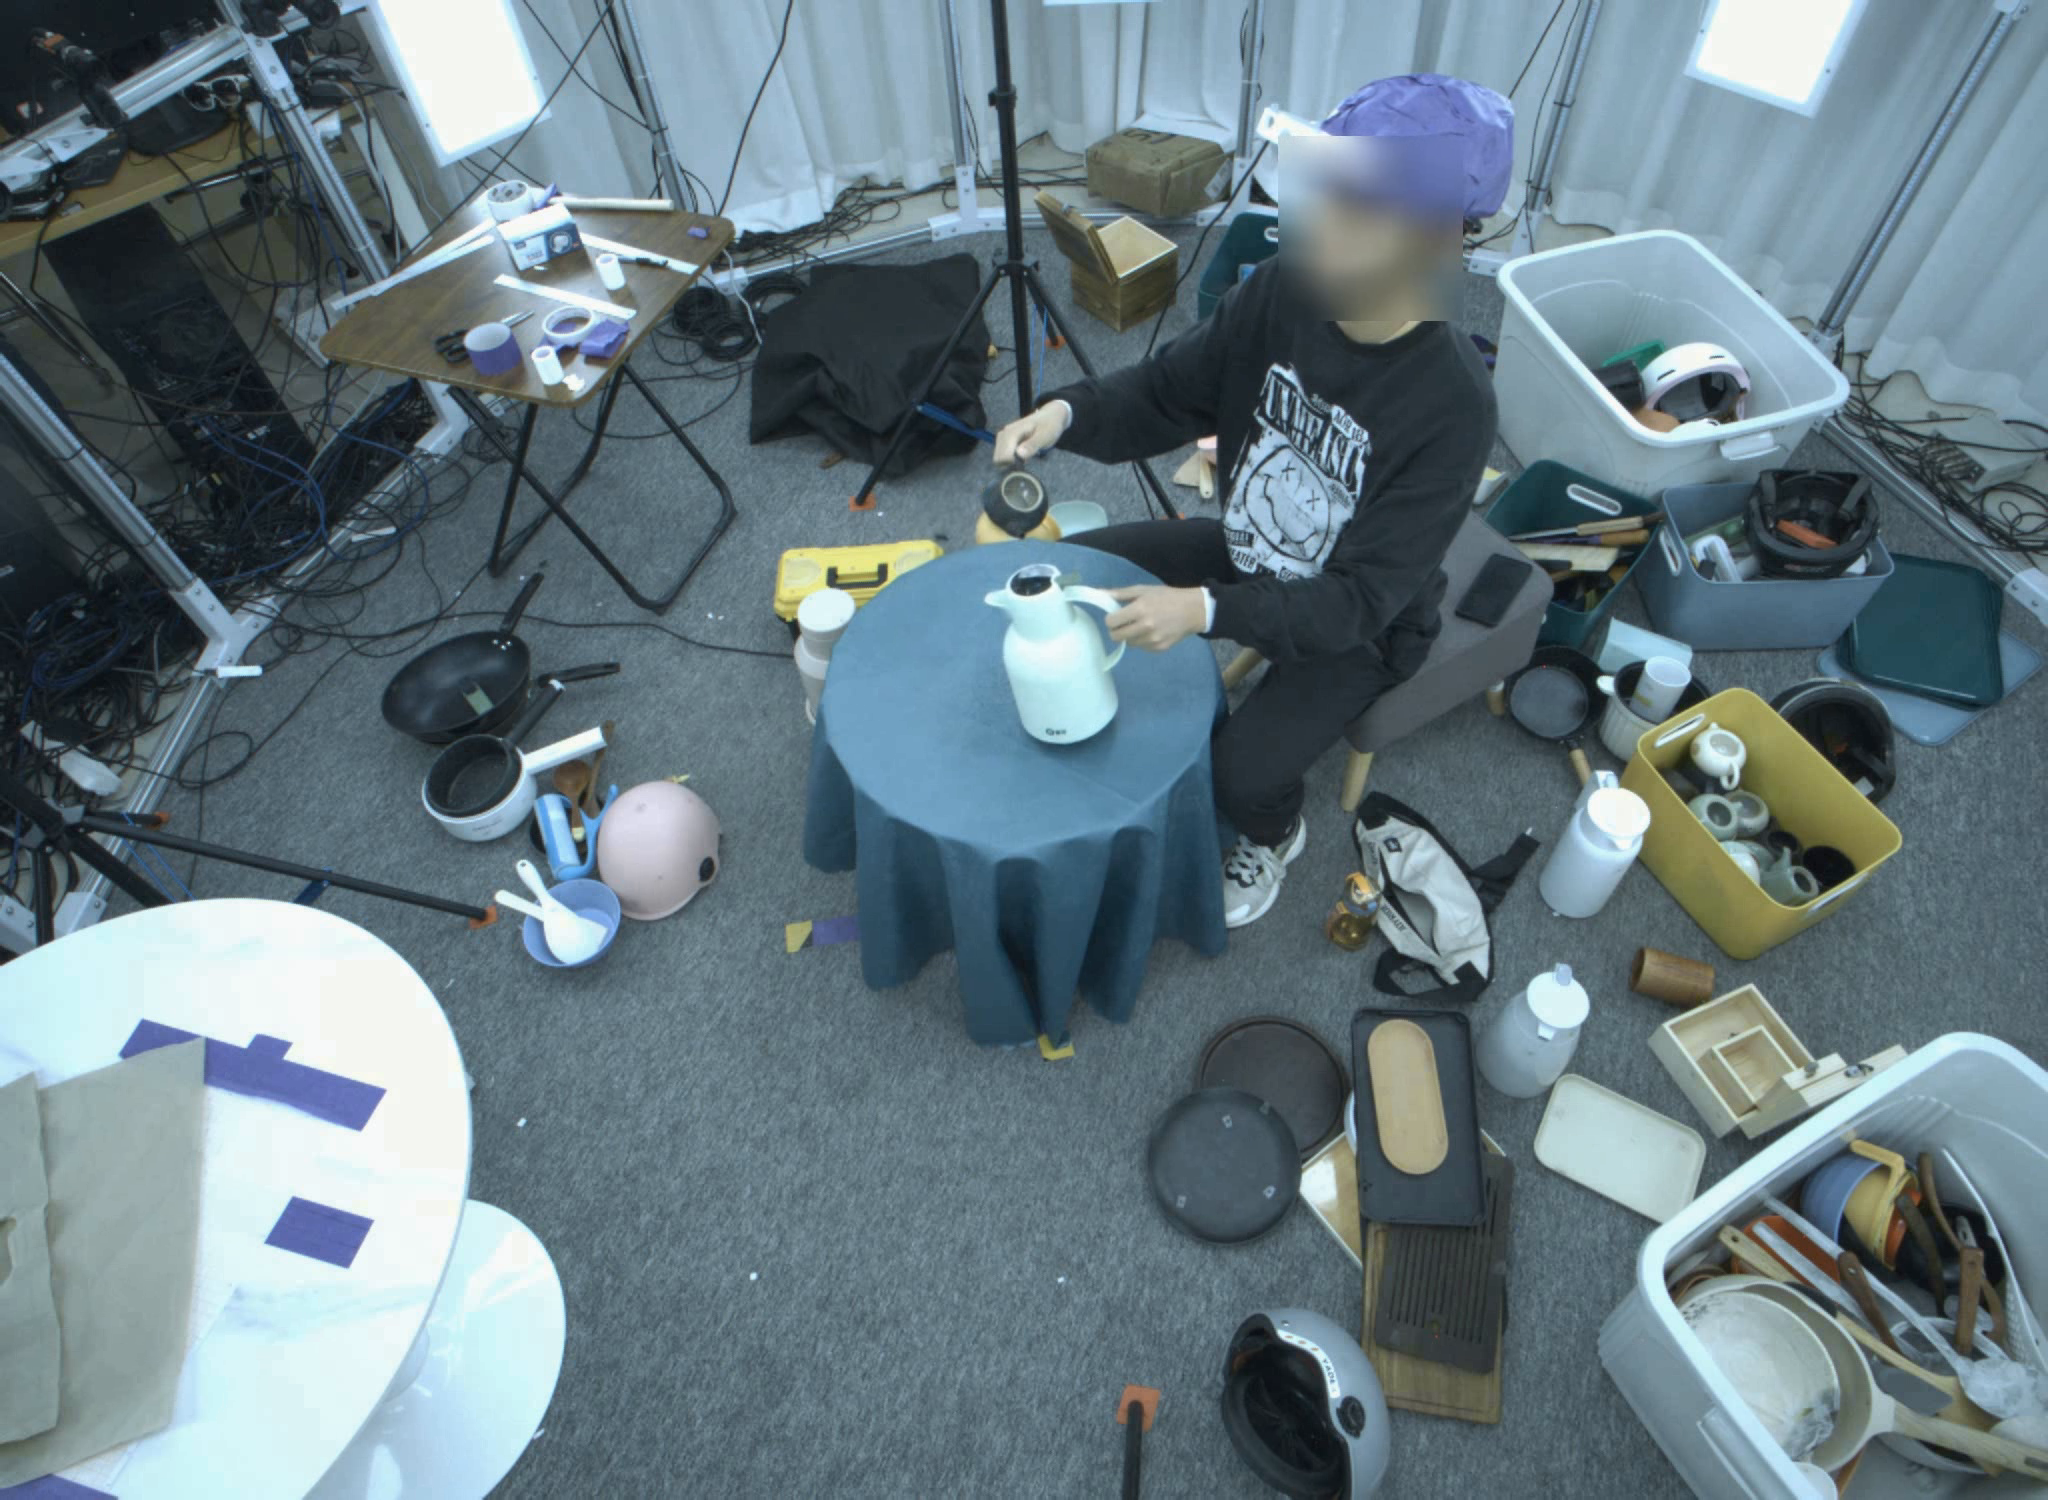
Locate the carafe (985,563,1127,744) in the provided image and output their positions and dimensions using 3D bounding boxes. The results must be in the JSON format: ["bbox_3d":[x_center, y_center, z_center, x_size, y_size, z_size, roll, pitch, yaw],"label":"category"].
[{"bbox_3d":[0.053,-0.139,1.711,0.185,0.260,0.143,-1,46,12],"label":"carafe"}]

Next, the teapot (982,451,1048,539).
[{"bbox_3d":[-0.011,-0.336,1.632,0.092,0.052,0.132,3,77,-19],"label":"teapot"}]
